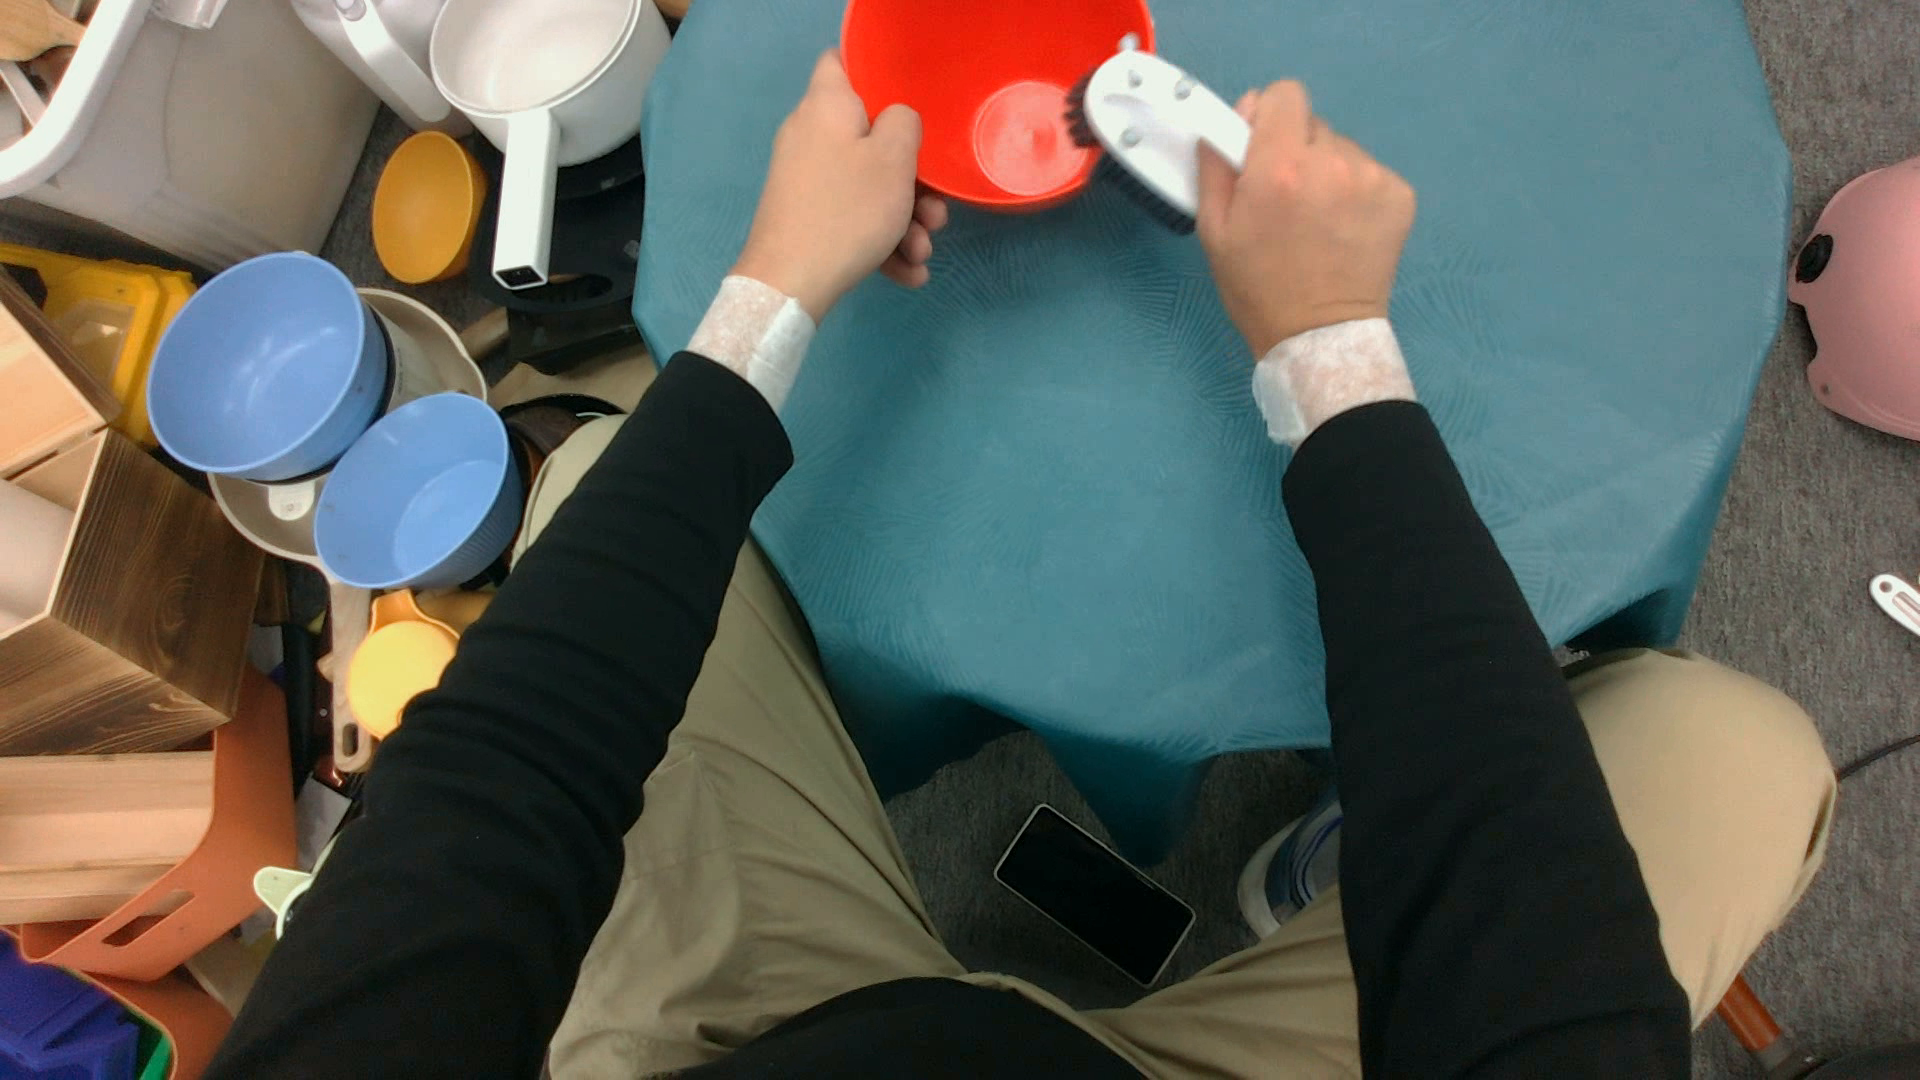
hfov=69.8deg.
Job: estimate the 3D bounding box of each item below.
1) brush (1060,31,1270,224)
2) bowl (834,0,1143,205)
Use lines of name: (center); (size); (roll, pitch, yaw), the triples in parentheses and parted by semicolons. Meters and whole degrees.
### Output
brush: (0.101, -0.192, 0.635); (0.099, 0.072, 0.050); (41, 79, -21)
bowl: (0.018, -0.232, 0.697); (0.148, 0.104, 0.148); (-1, 83, 5)
